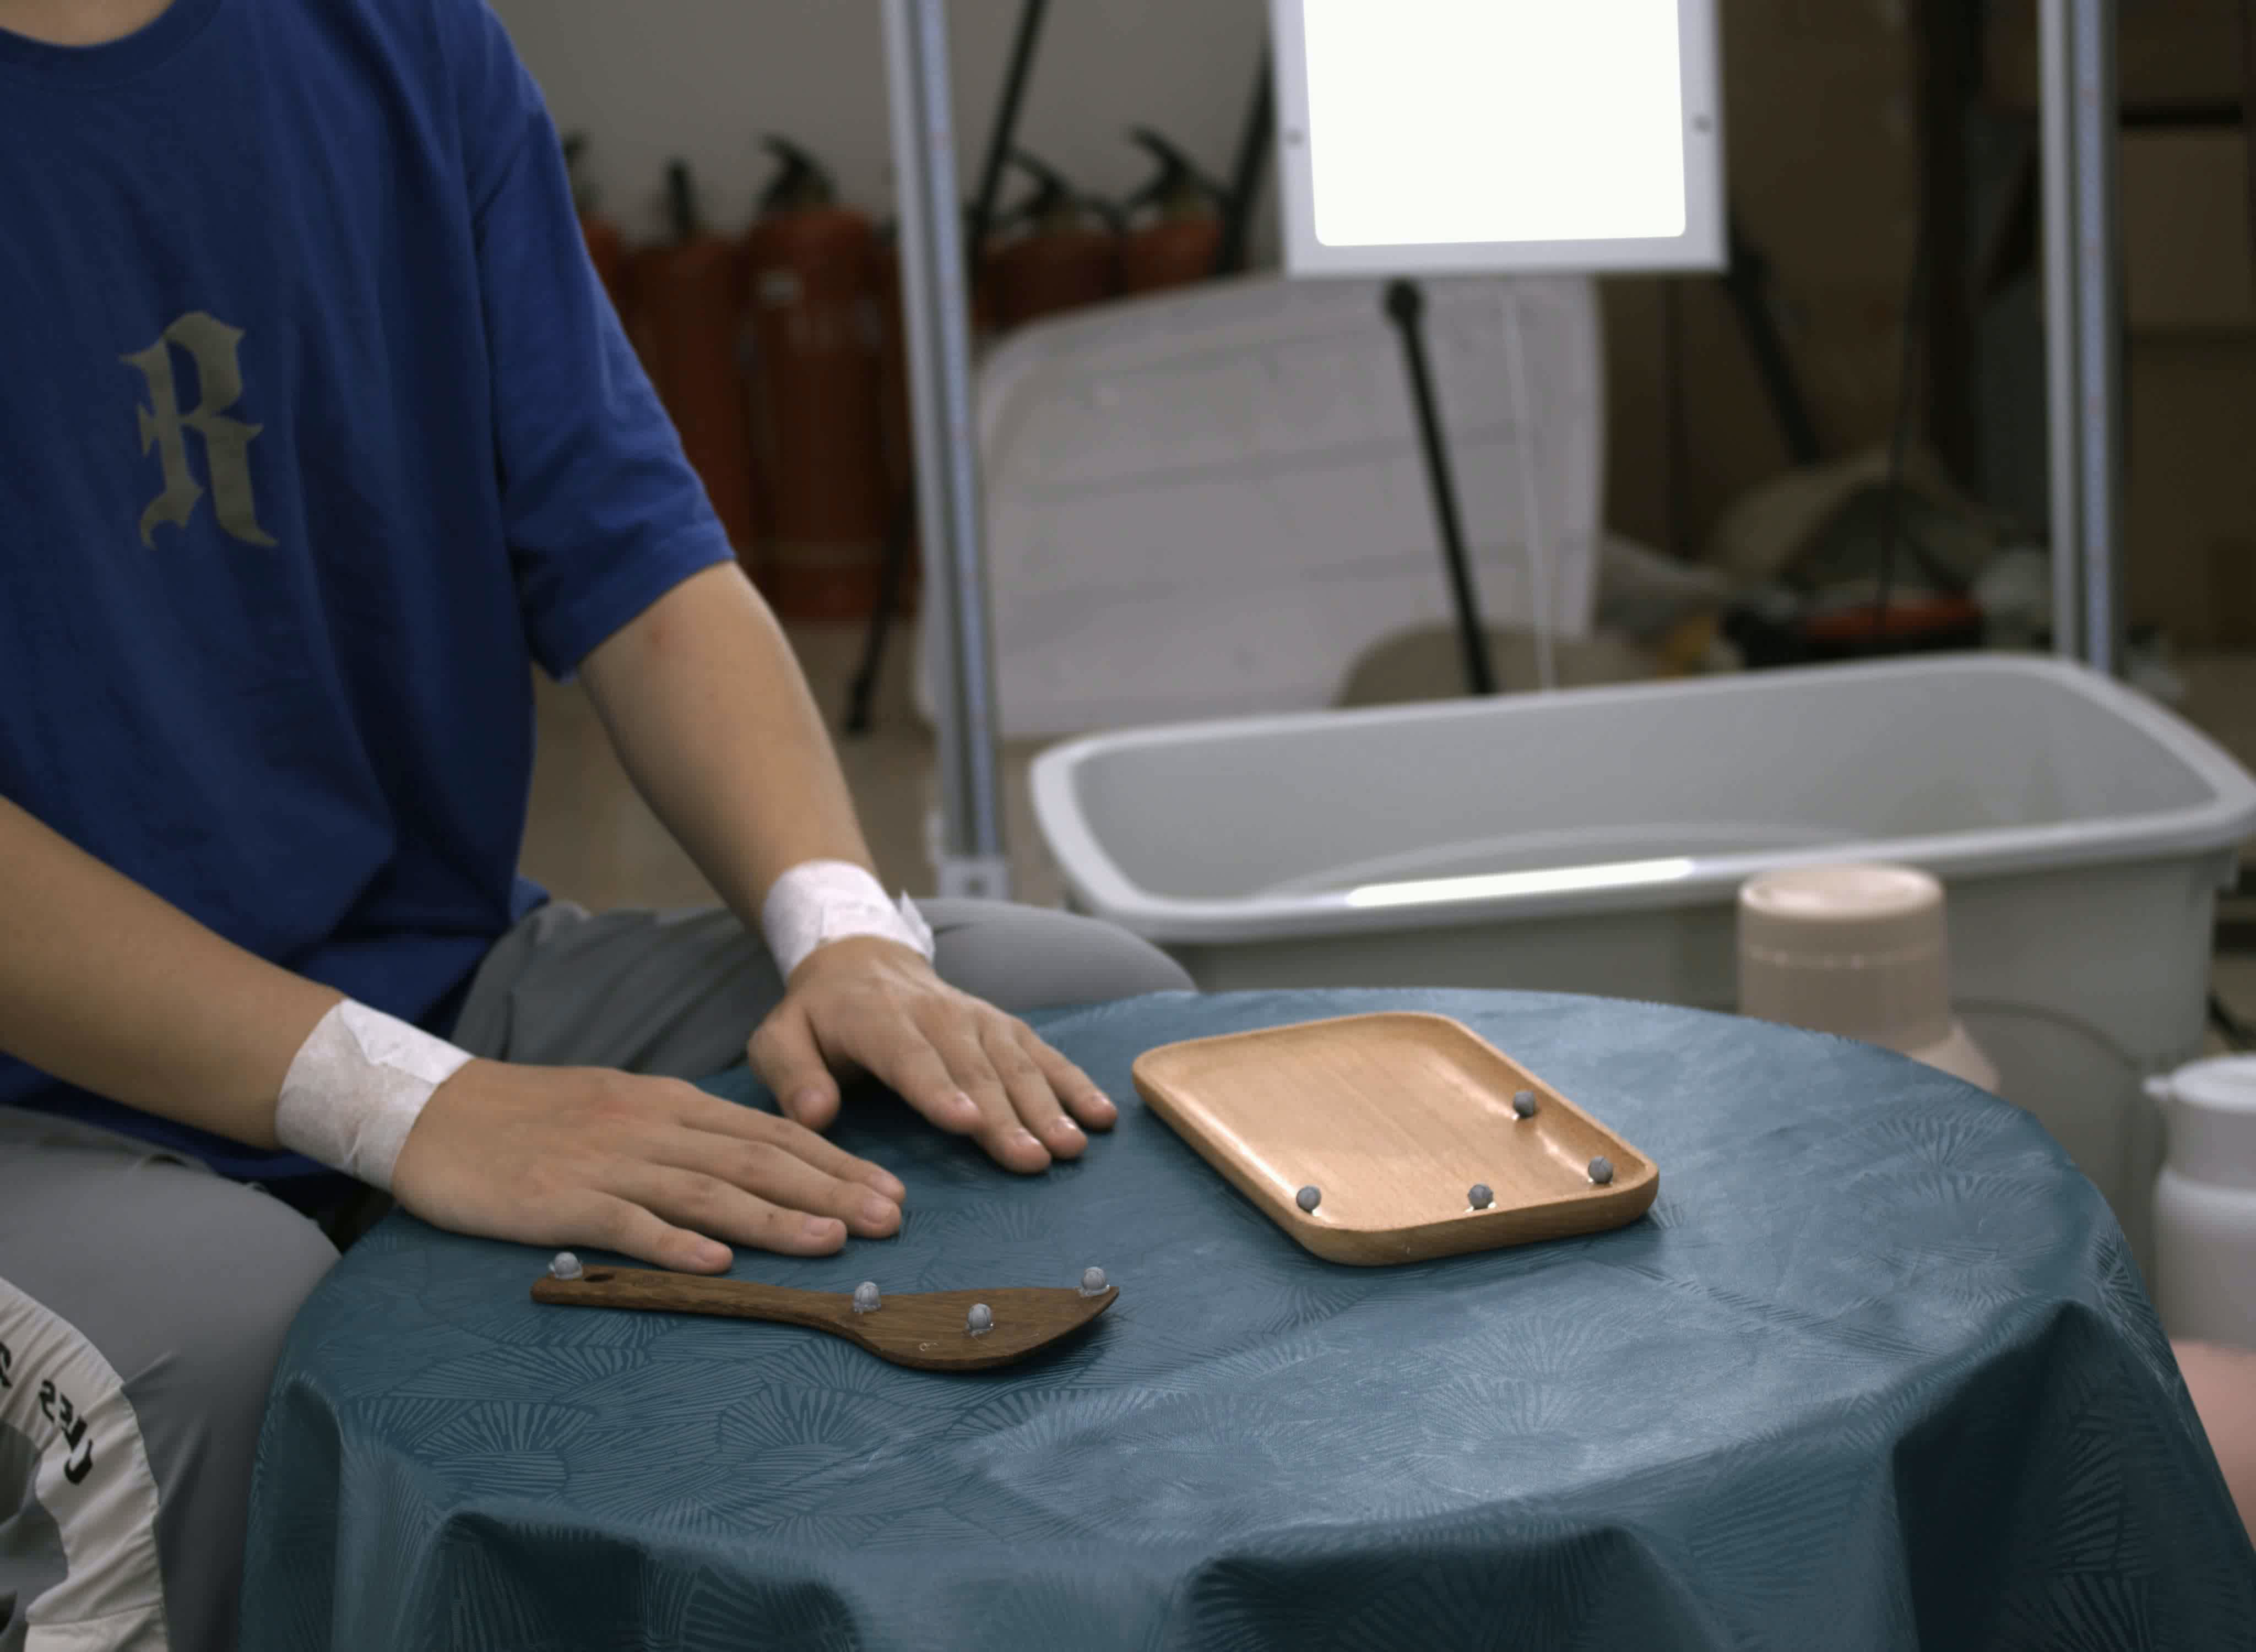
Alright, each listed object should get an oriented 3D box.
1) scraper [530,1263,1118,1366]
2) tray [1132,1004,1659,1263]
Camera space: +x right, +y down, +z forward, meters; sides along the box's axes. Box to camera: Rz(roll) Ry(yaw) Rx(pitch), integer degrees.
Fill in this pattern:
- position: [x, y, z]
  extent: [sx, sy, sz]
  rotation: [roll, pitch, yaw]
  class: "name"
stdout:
- position: [-0.105, 0.156, 1.796]
  extent: [0.215, 0.011, 0.074]
  rotation: [3, 15, 32]
  class: "scraper"
- position: [0.090, 0.105, 1.915]
  extent: [0.129, 0.023, 0.253]
  rotation: [-6, 13, -13]
  class: "tray"
